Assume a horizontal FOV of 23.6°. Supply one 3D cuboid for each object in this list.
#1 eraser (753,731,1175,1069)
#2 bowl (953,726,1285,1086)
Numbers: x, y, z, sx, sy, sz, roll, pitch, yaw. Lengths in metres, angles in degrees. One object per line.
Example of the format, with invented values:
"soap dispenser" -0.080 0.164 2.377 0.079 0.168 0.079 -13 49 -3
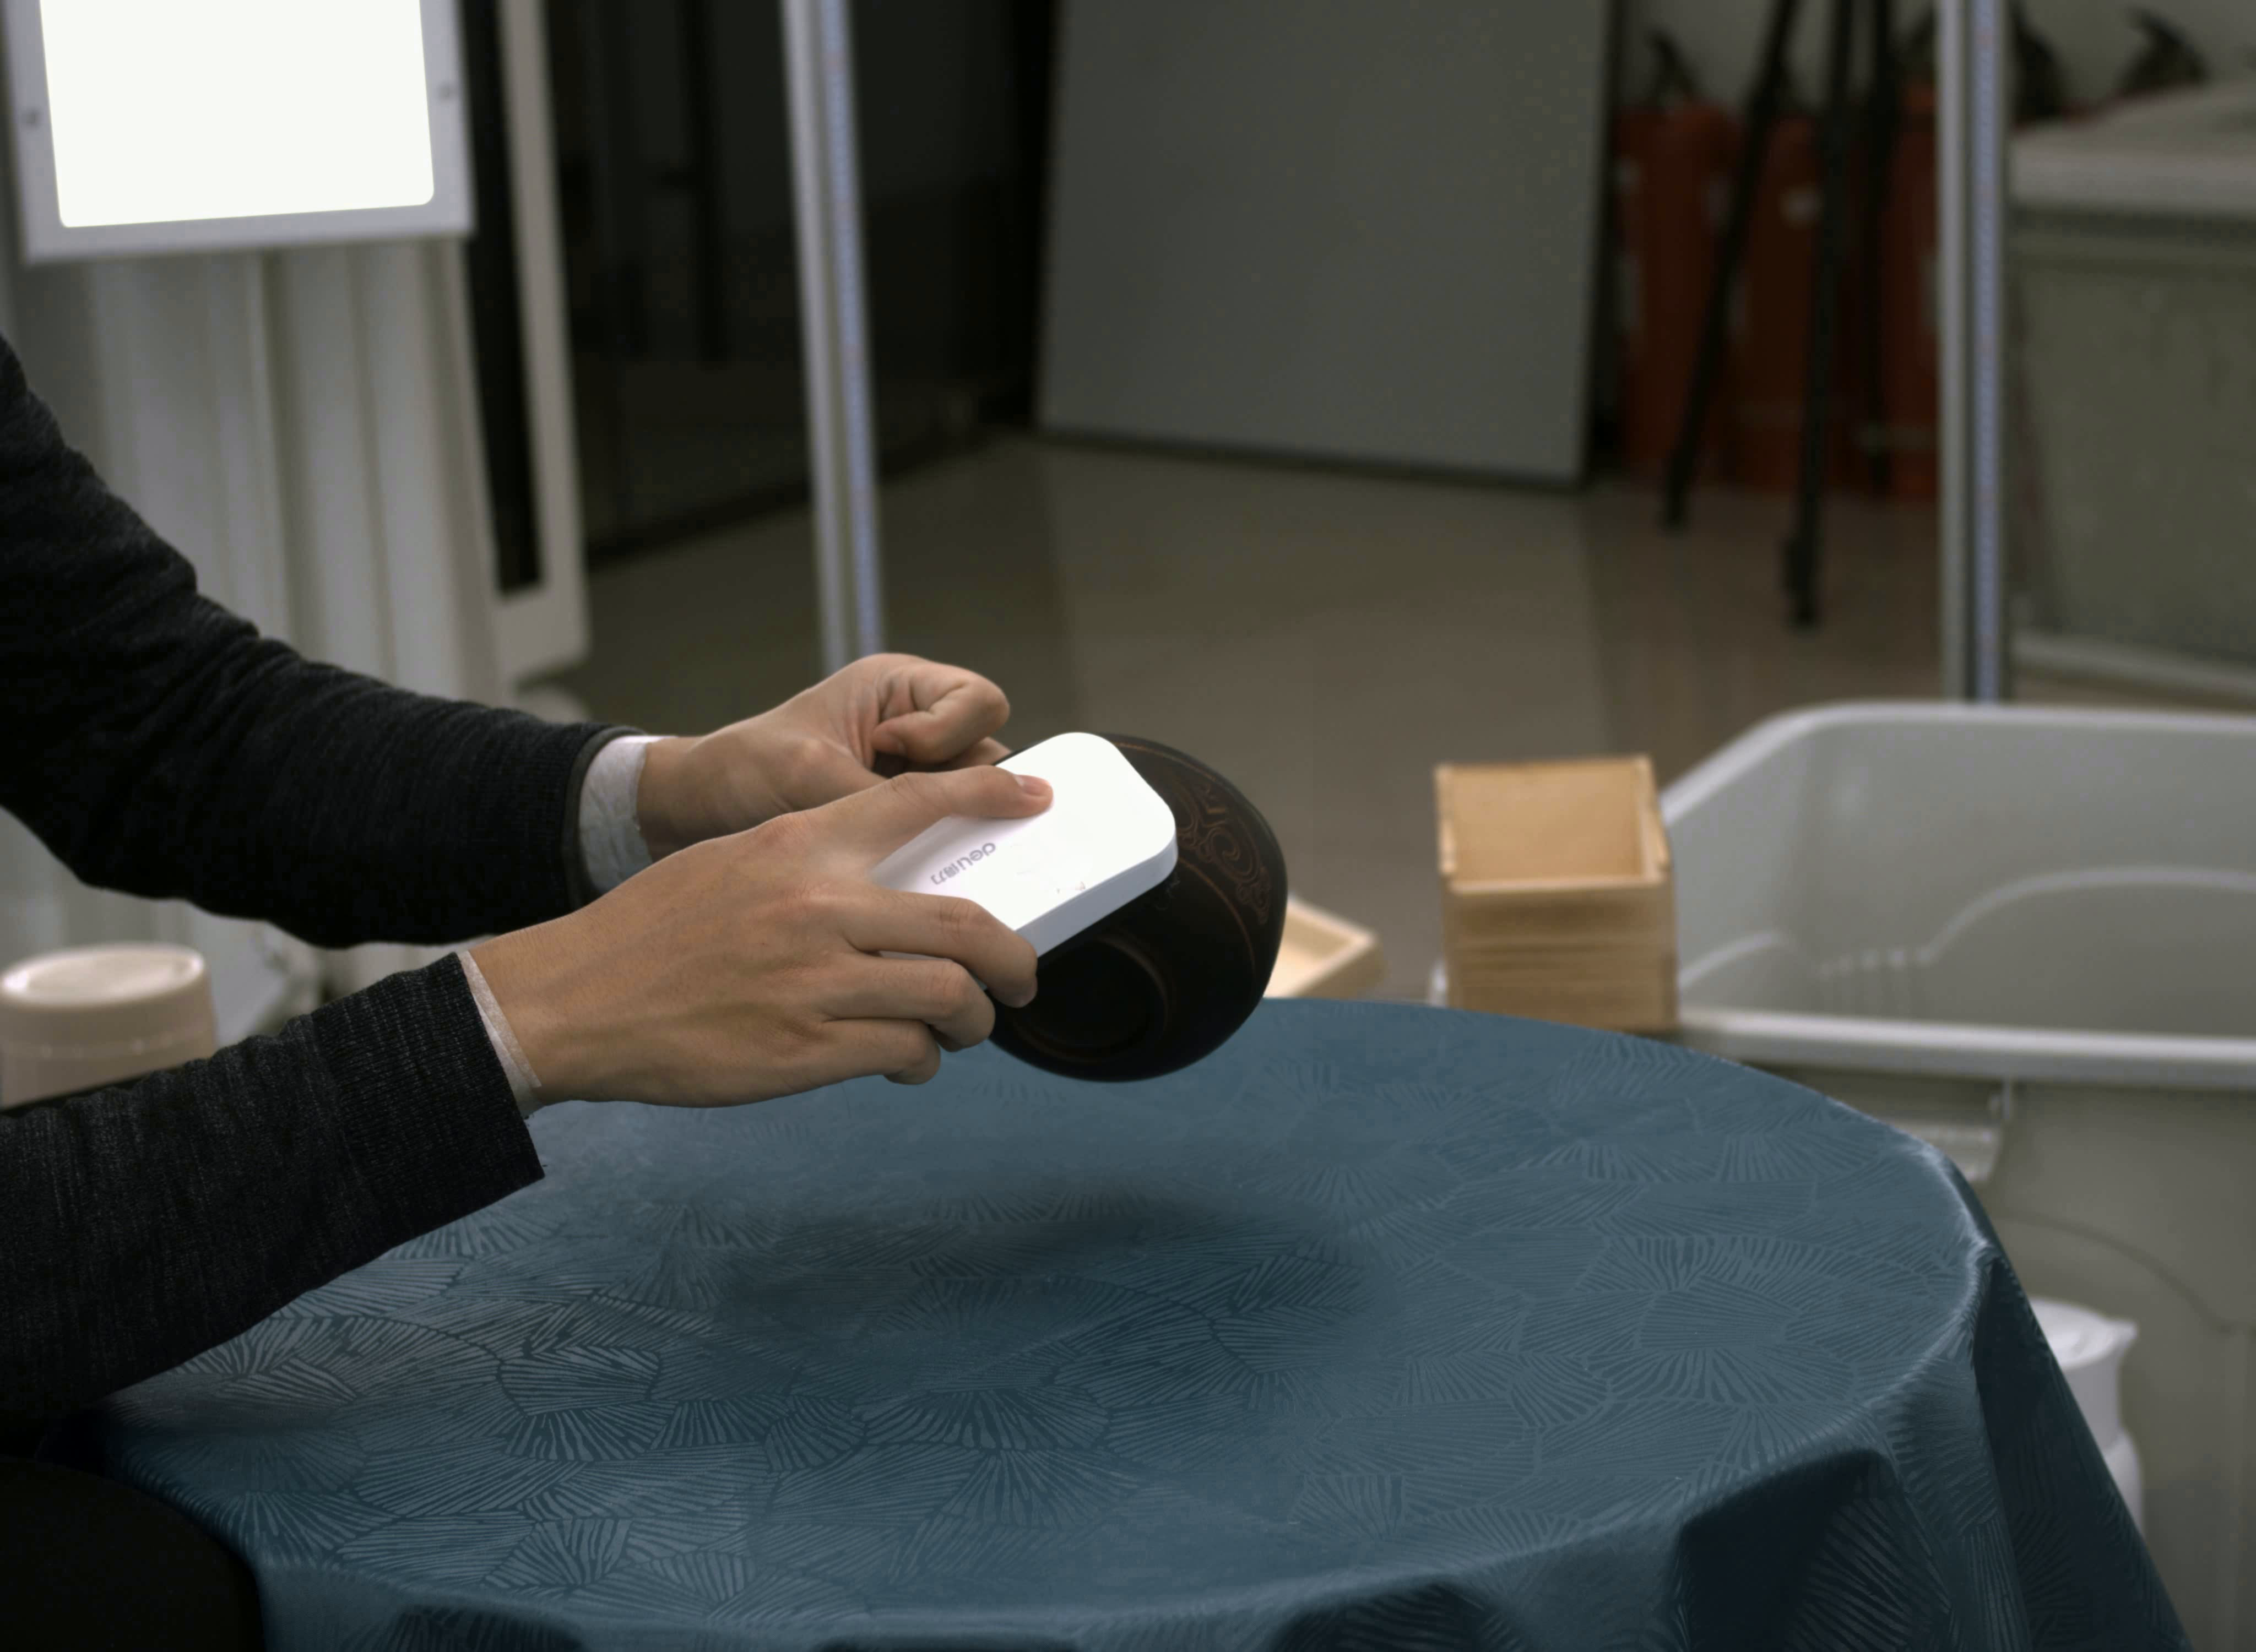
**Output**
"eraser" -0.050 0.020 1.650 0.130 0.034 0.064 -30 50 -12
"bowl" -0.011 0.035 1.720 0.117 0.118 0.070 0 38 14
